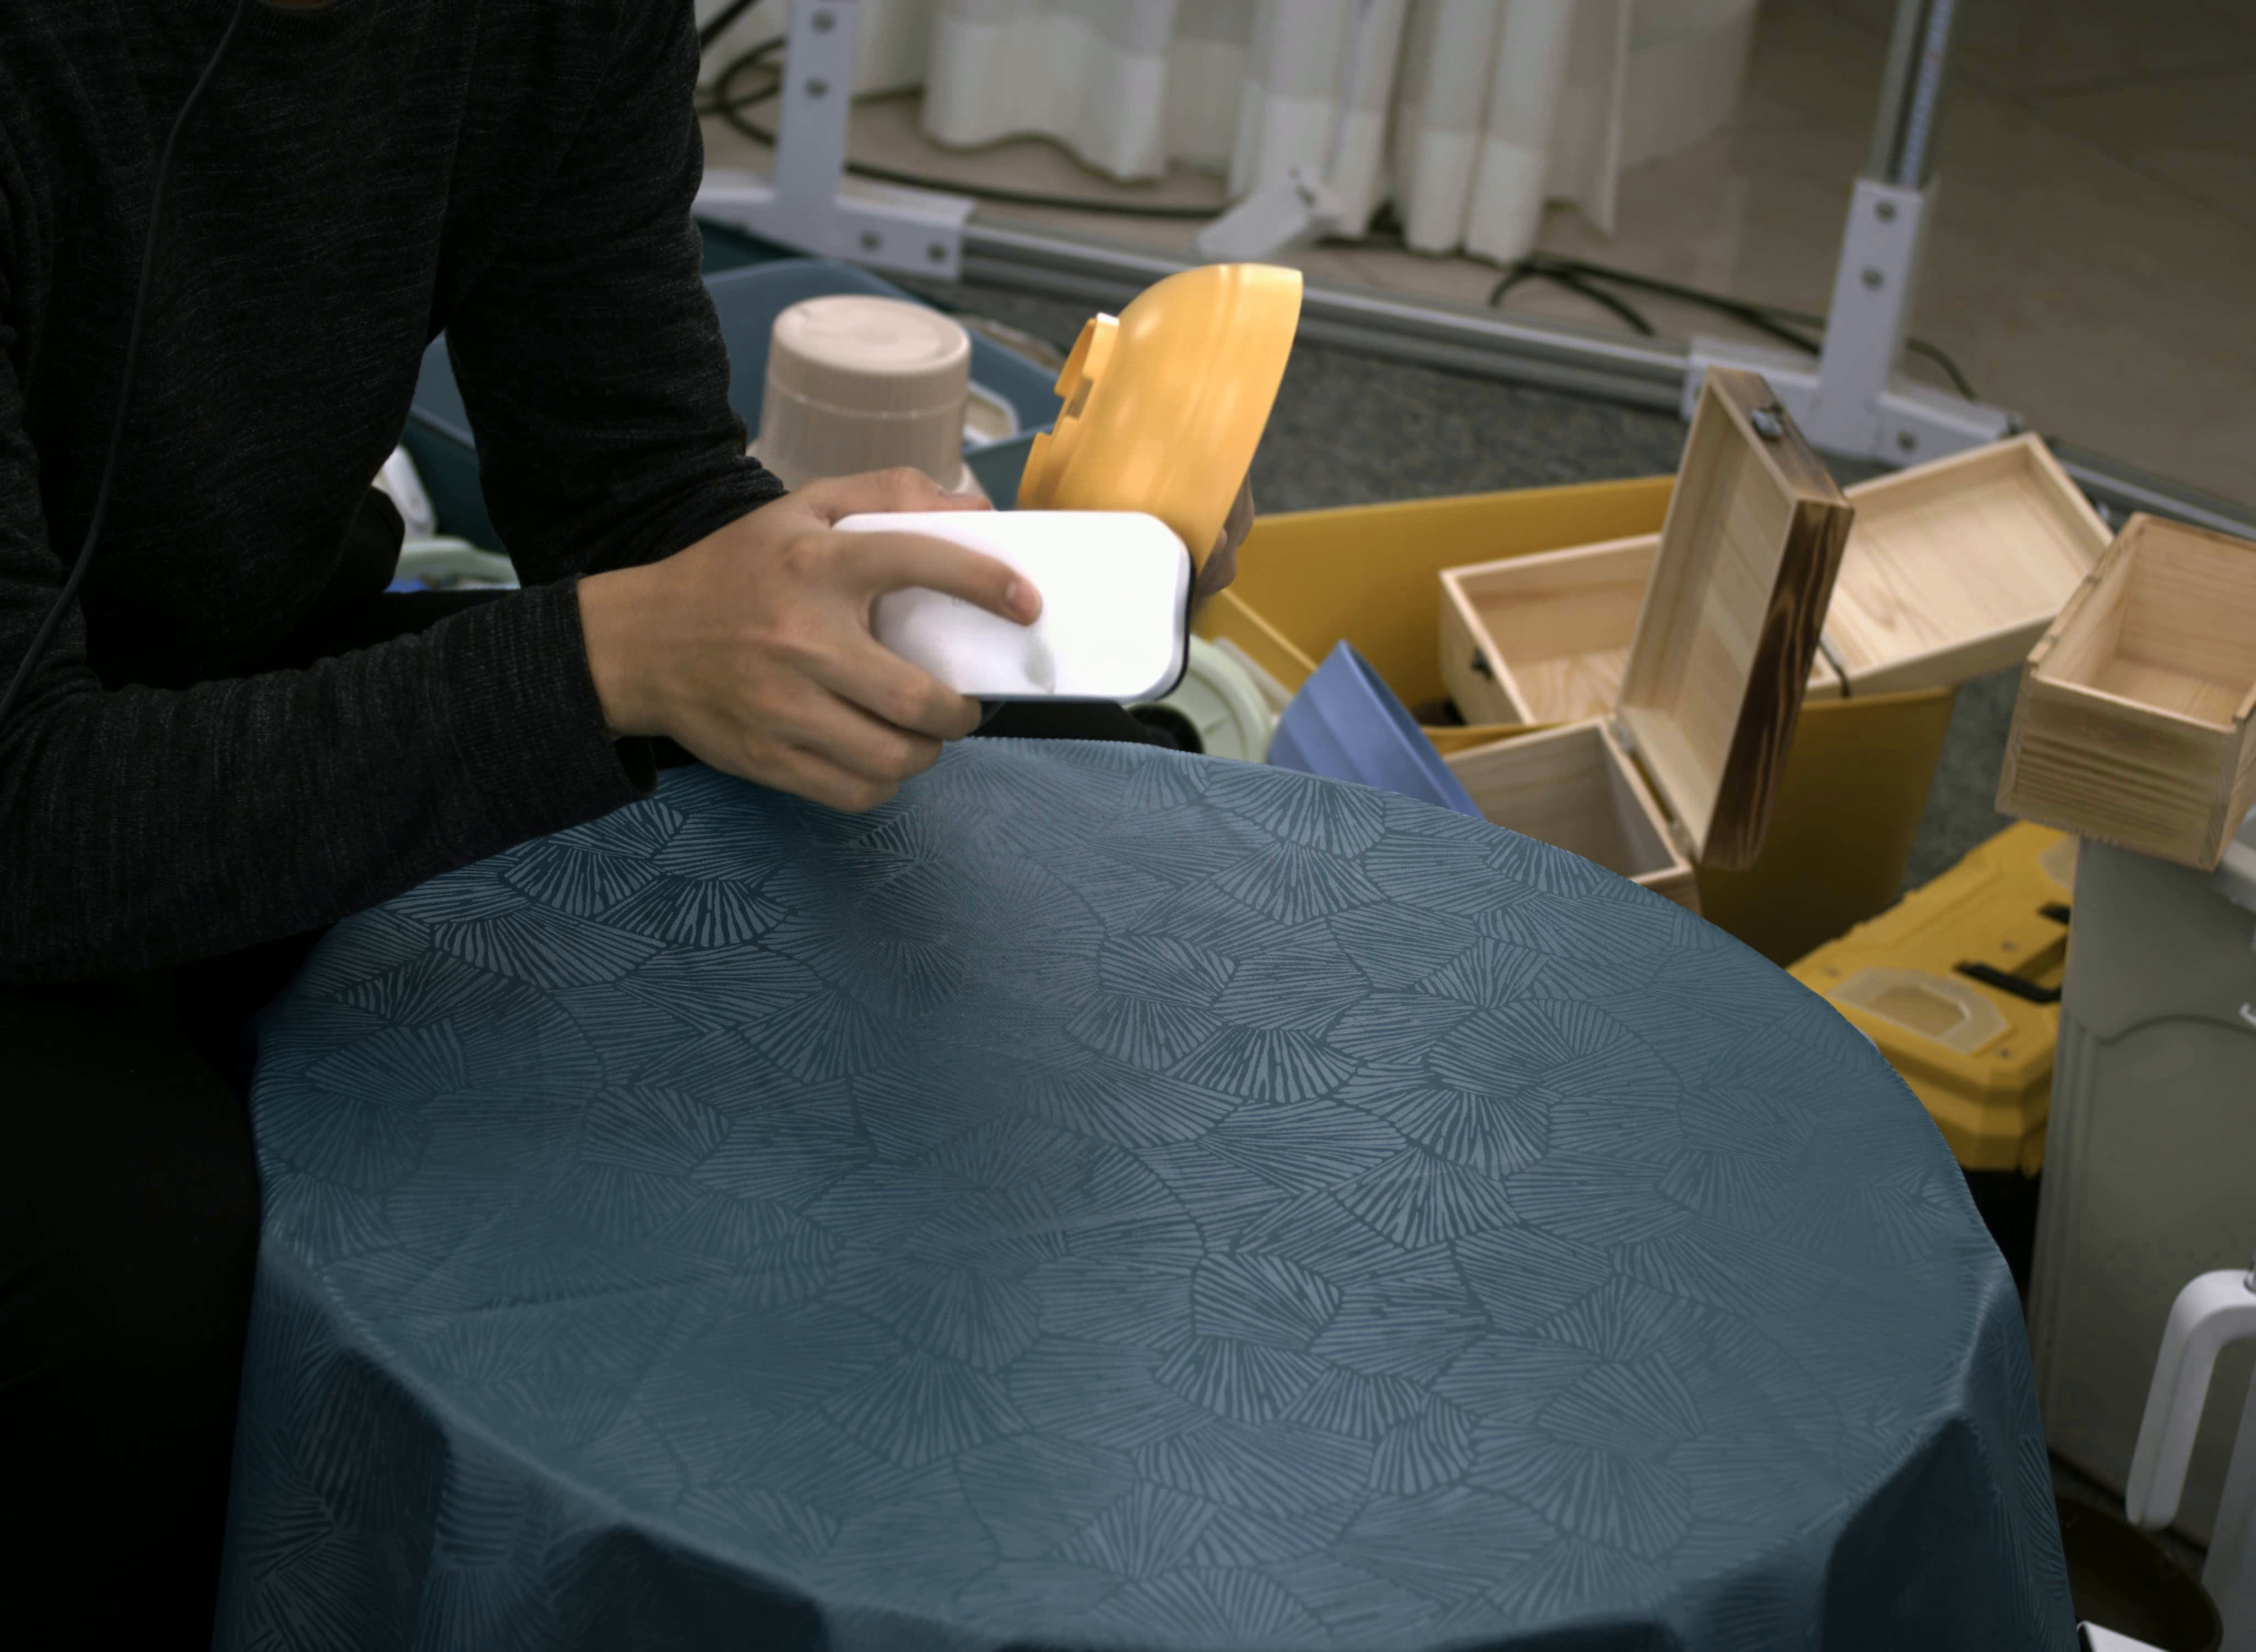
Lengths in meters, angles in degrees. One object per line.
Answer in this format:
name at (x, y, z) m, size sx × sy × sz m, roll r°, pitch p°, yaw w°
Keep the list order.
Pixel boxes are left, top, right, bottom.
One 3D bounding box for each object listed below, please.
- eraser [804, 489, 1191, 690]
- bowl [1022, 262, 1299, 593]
eraser at (-0.043, -0.075, 1.735) m, size 0.131 × 0.063 × 0.034 m, roll 1°, pitch -9°, yaw 24°
bowl at (0.003, -0.130, 1.790) m, size 0.060 × 0.145 × 0.146 m, roll 21°, pitch 26°, yaw -7°
